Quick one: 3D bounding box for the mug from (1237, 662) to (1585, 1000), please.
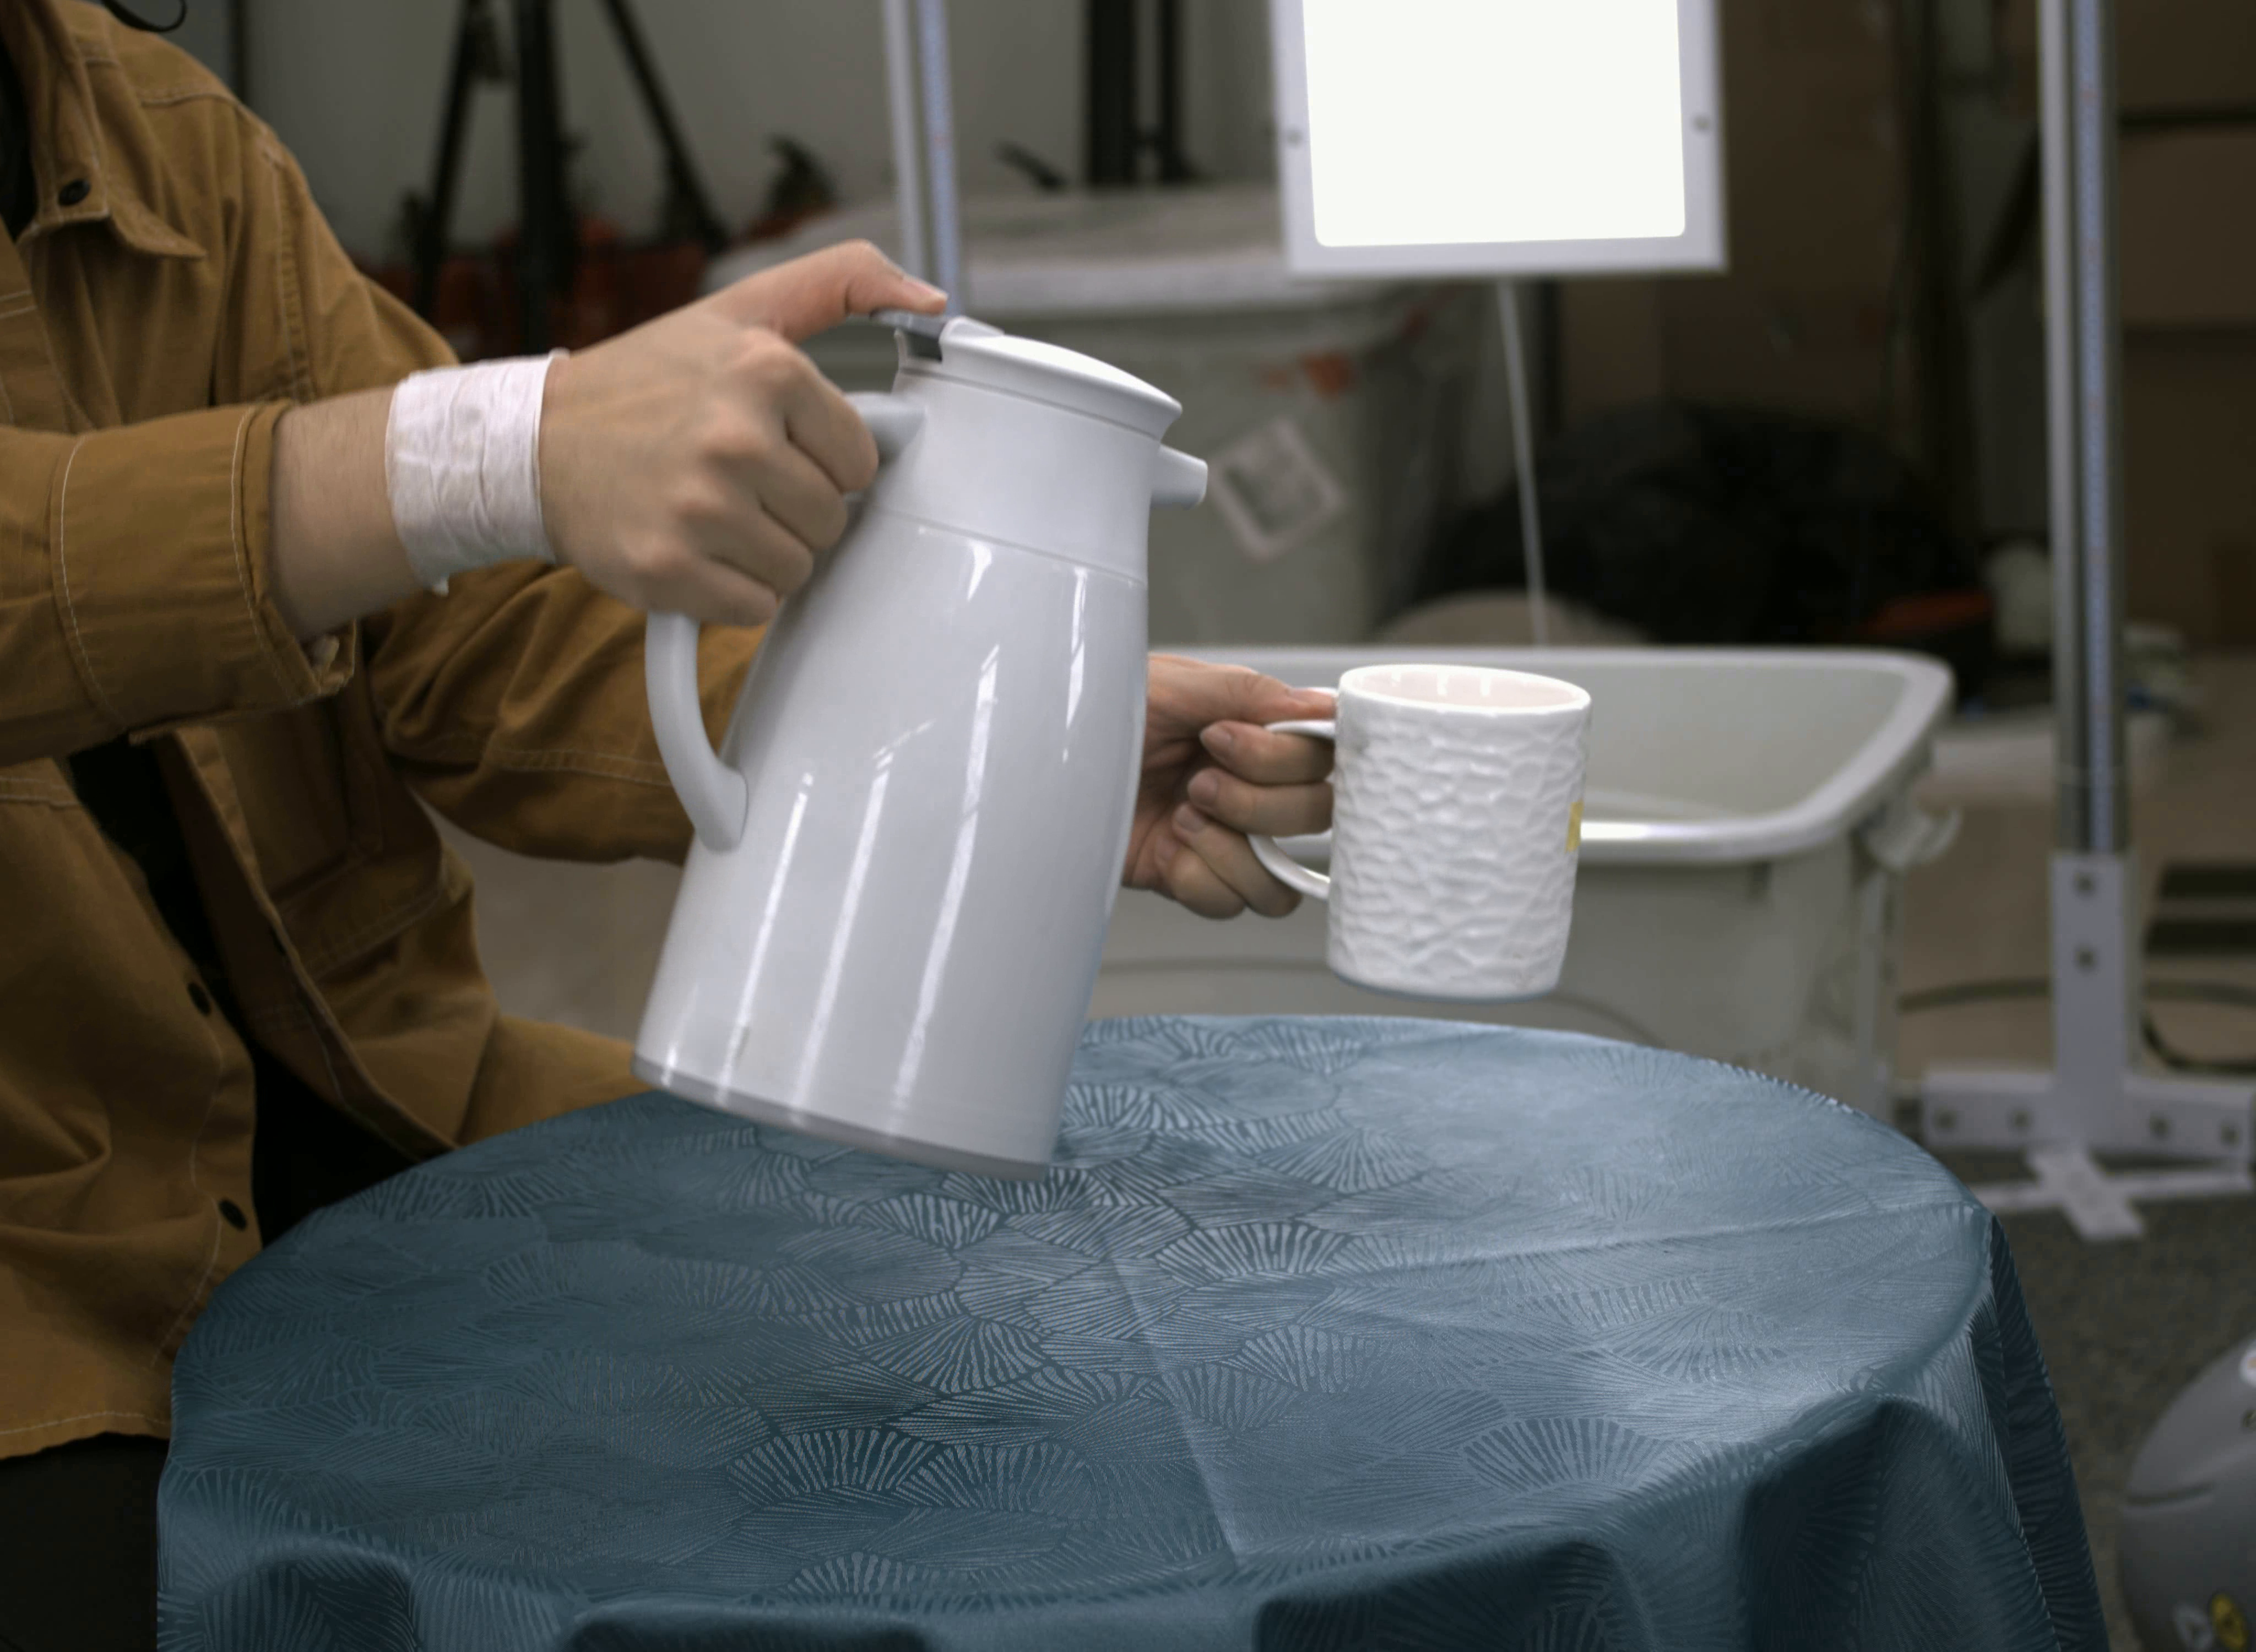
[{"bbox_3d":[0.094,-0.001,1.864,0.119,0.102,0.083,6,11,19],"label":"mug"}]

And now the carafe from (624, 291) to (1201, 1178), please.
[{"bbox_3d":[-0.073,-0.033,1.668,0.164,0.249,0.135,14,2,-31],"label":"carafe"}]
